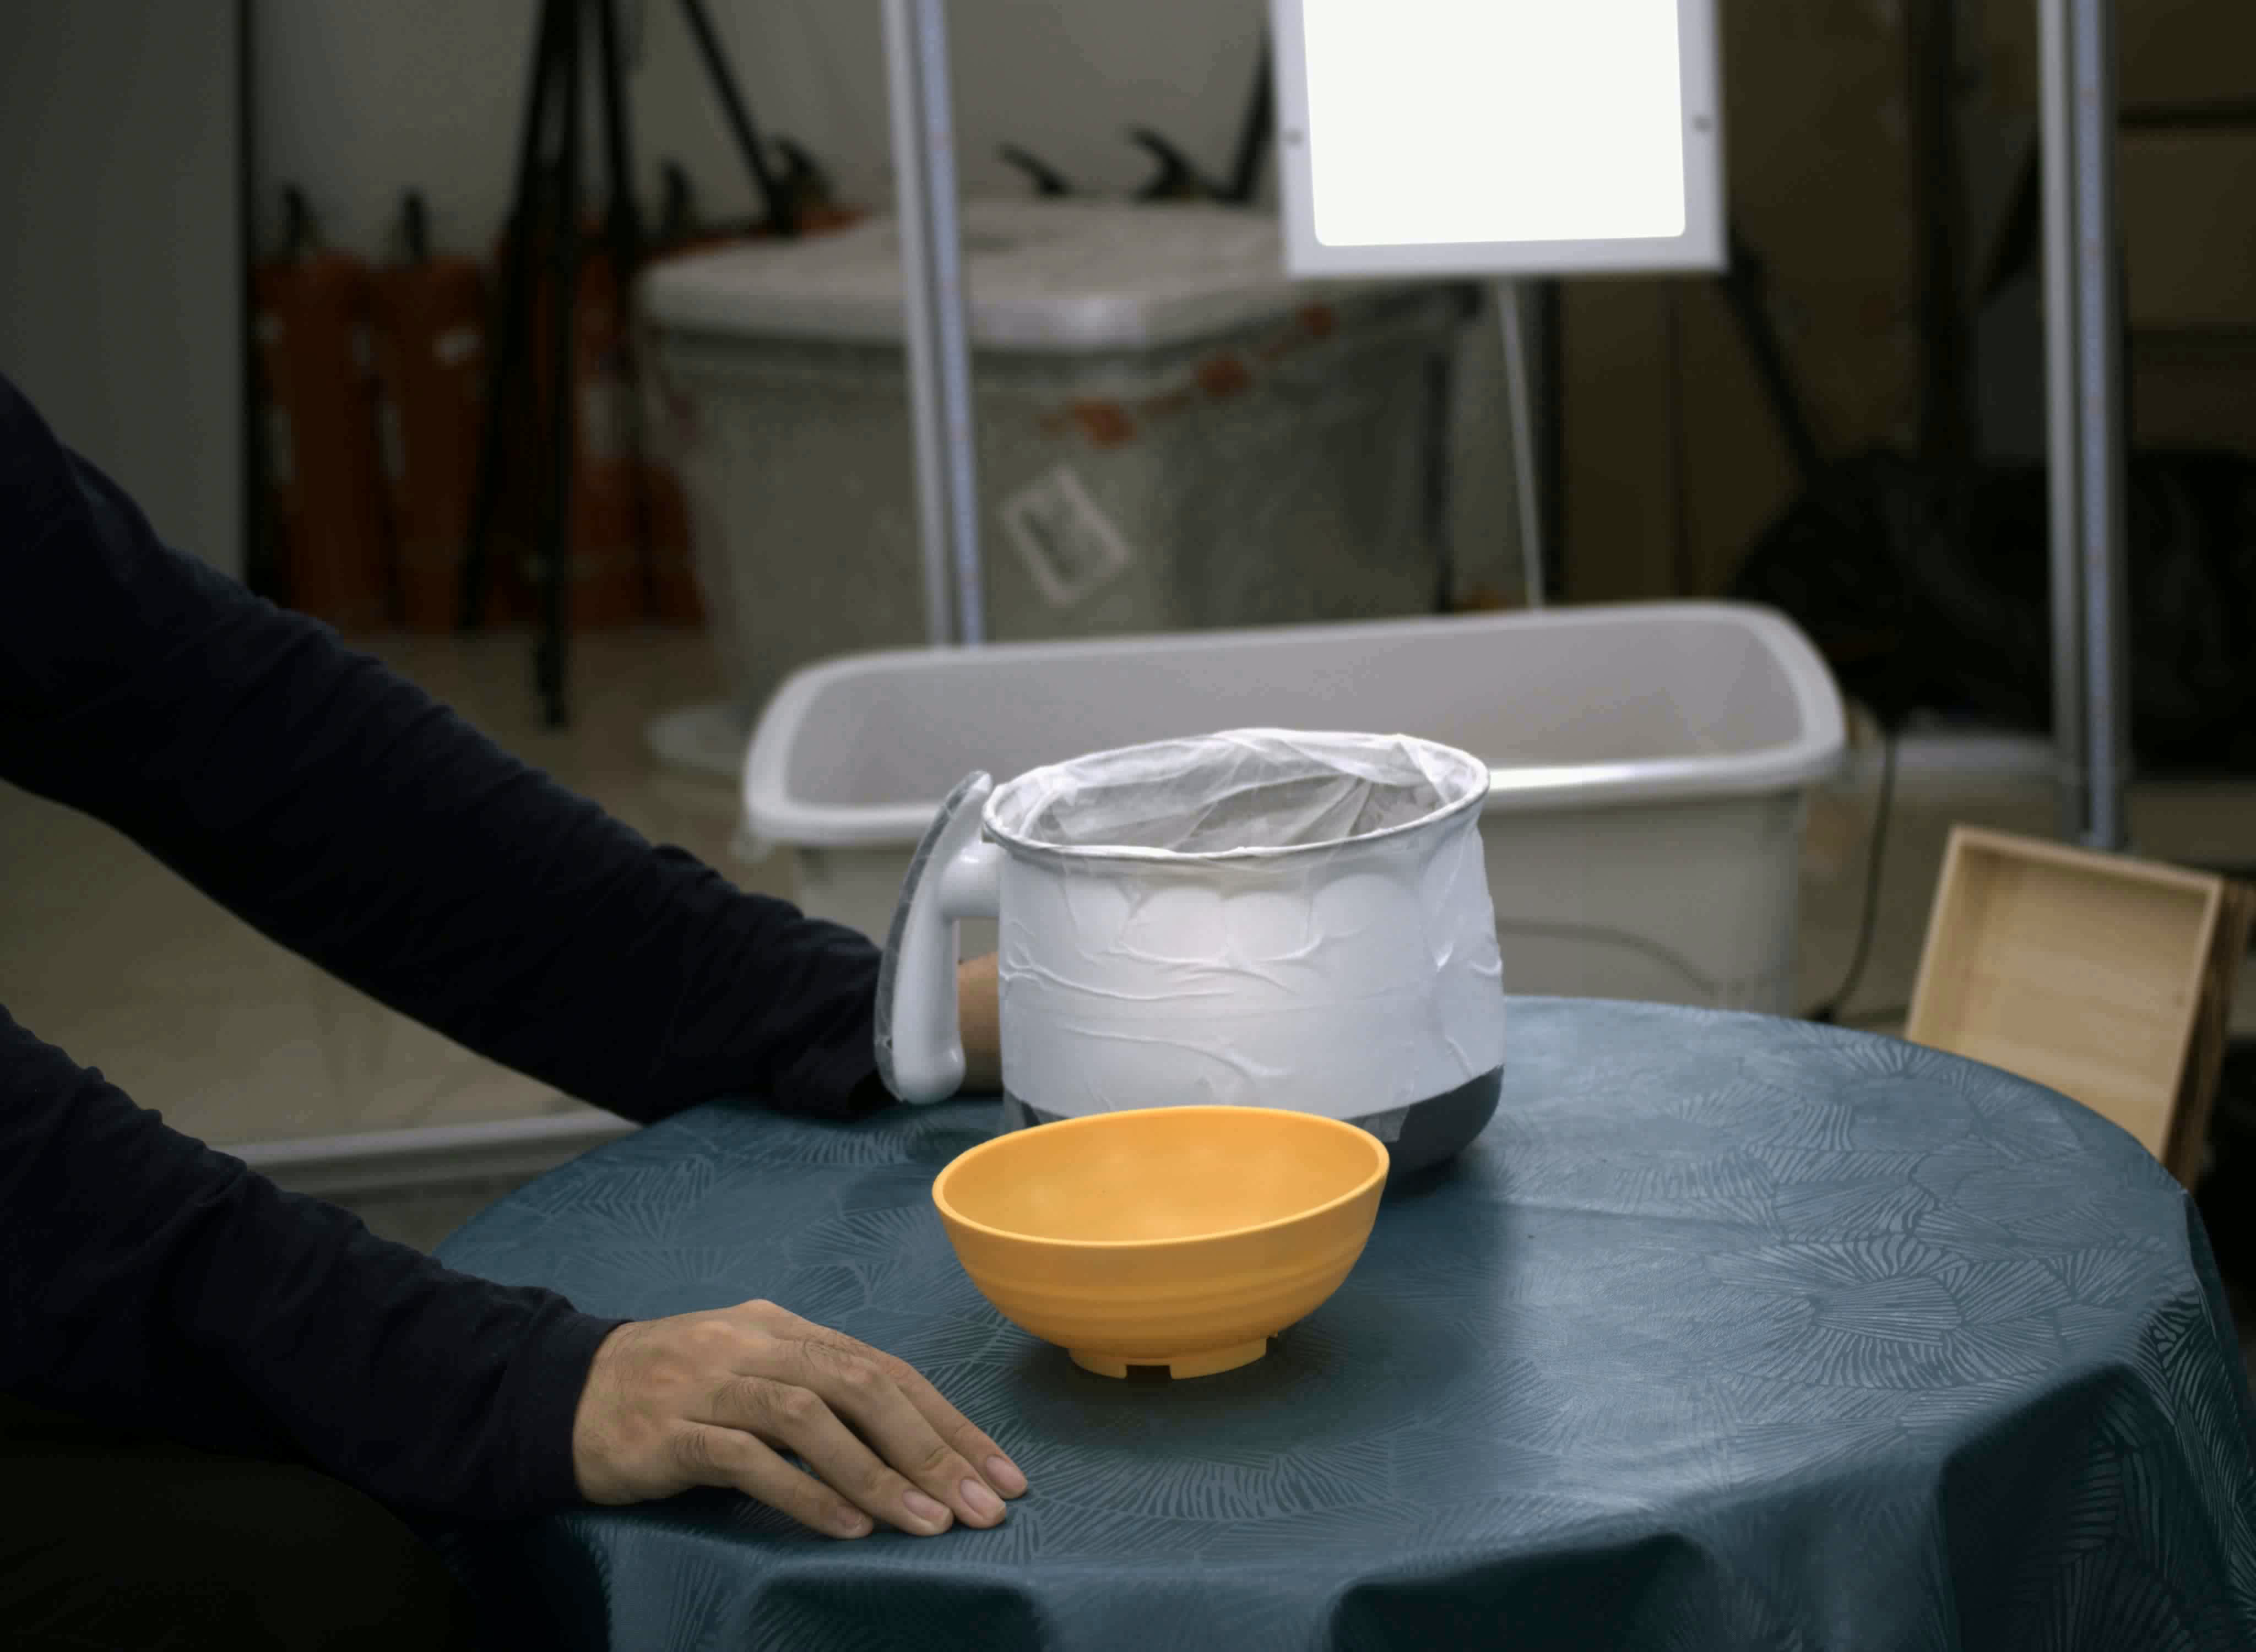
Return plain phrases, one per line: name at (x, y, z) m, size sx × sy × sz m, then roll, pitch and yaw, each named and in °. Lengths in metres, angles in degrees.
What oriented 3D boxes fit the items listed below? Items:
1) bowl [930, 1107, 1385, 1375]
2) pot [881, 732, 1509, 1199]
bowl at (0.010, 0.135, 1.734) m, size 0.145 × 0.060 × 0.145 m, roll -3°, pitch 13°, yaw -1°
pot at (0.017, 0.050, 1.930) m, size 0.237 × 0.137 × 0.175 m, roll 0°, pitch 14°, yaw 25°
